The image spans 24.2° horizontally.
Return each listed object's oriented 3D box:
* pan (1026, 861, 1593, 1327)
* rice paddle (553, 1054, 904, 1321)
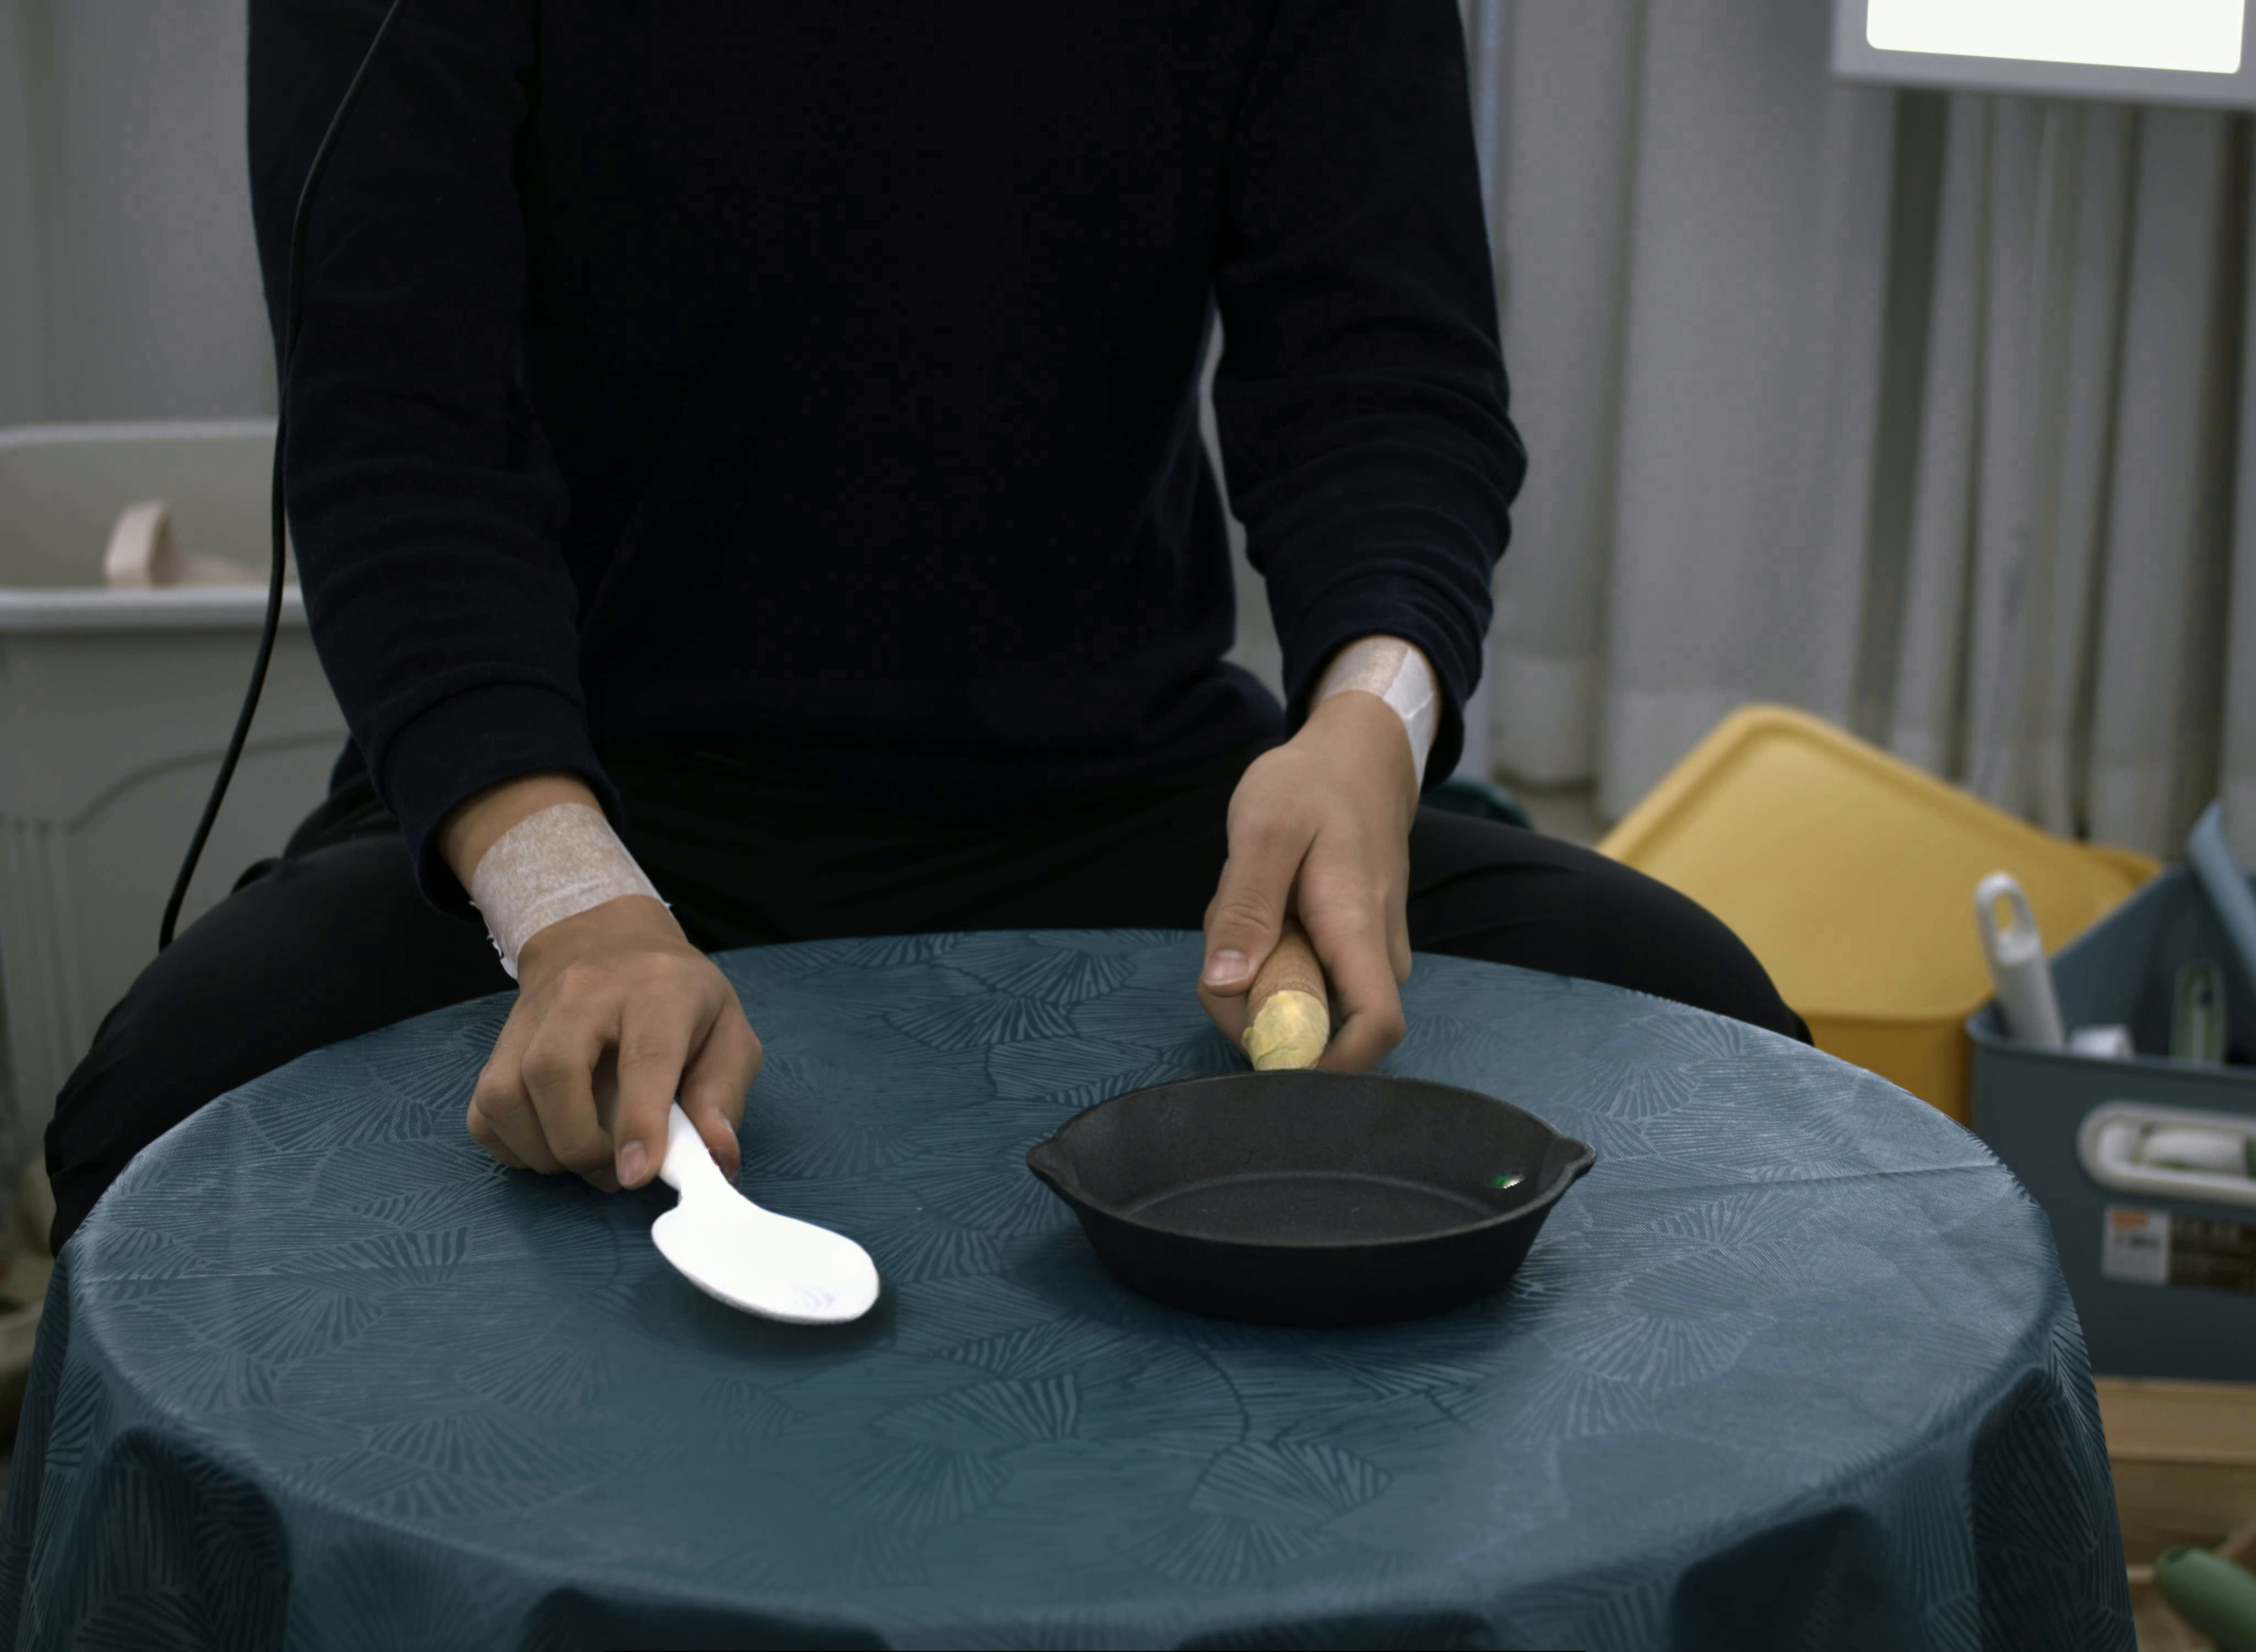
[{"bbox_3d":[0.055,0.080,1.643,0.168,0.050,0.322,0,17,0],"label":"pan"},{"bbox_3d":[-0.124,0.110,1.571,0.069,0.029,0.203,2,14,-26],"label":"rice paddle"}]
